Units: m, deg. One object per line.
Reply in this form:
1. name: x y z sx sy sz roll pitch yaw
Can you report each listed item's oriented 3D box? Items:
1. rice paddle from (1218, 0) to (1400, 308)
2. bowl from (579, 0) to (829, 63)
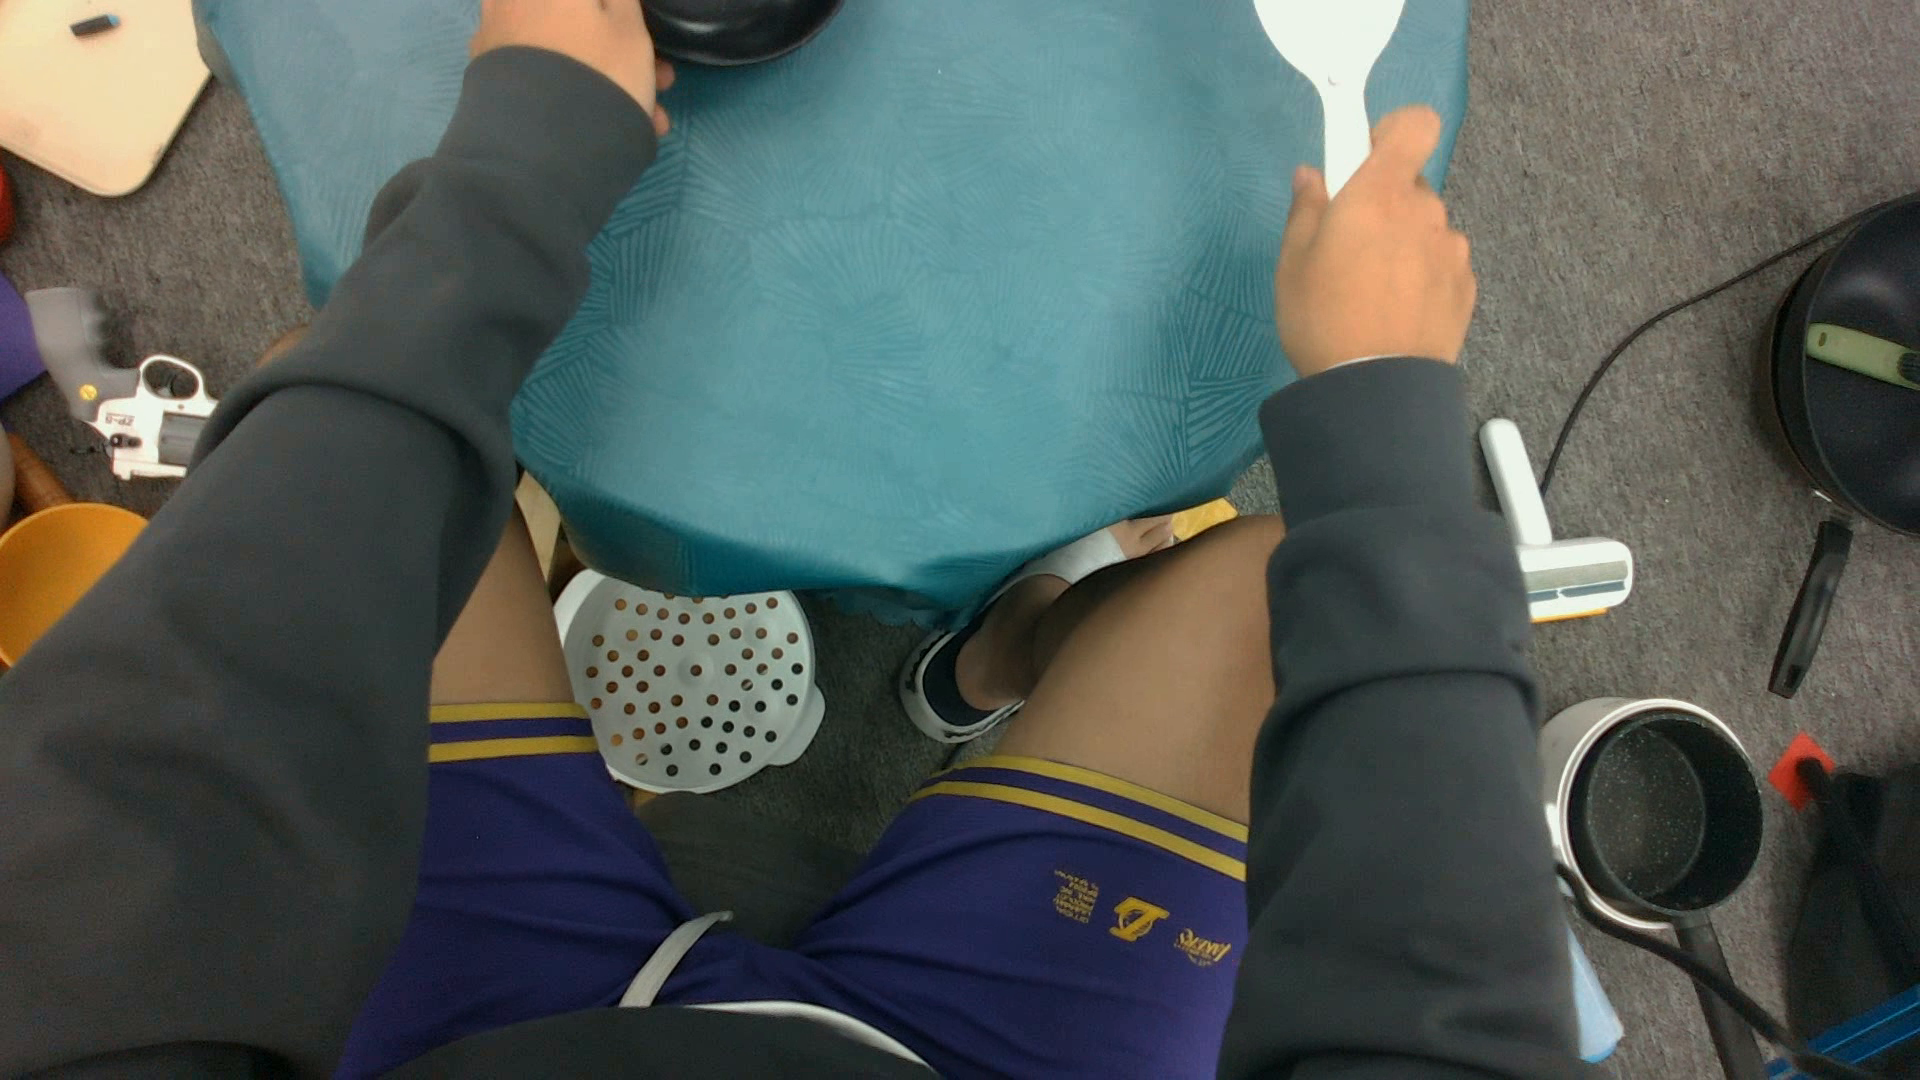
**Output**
1. rice paddle: 0.152 -0.204 0.598 0.068 0.029 0.205 -12 95 24
2. bowl: -0.121 -0.276 0.608 0.140 0.049 0.140 -1 93 -22
